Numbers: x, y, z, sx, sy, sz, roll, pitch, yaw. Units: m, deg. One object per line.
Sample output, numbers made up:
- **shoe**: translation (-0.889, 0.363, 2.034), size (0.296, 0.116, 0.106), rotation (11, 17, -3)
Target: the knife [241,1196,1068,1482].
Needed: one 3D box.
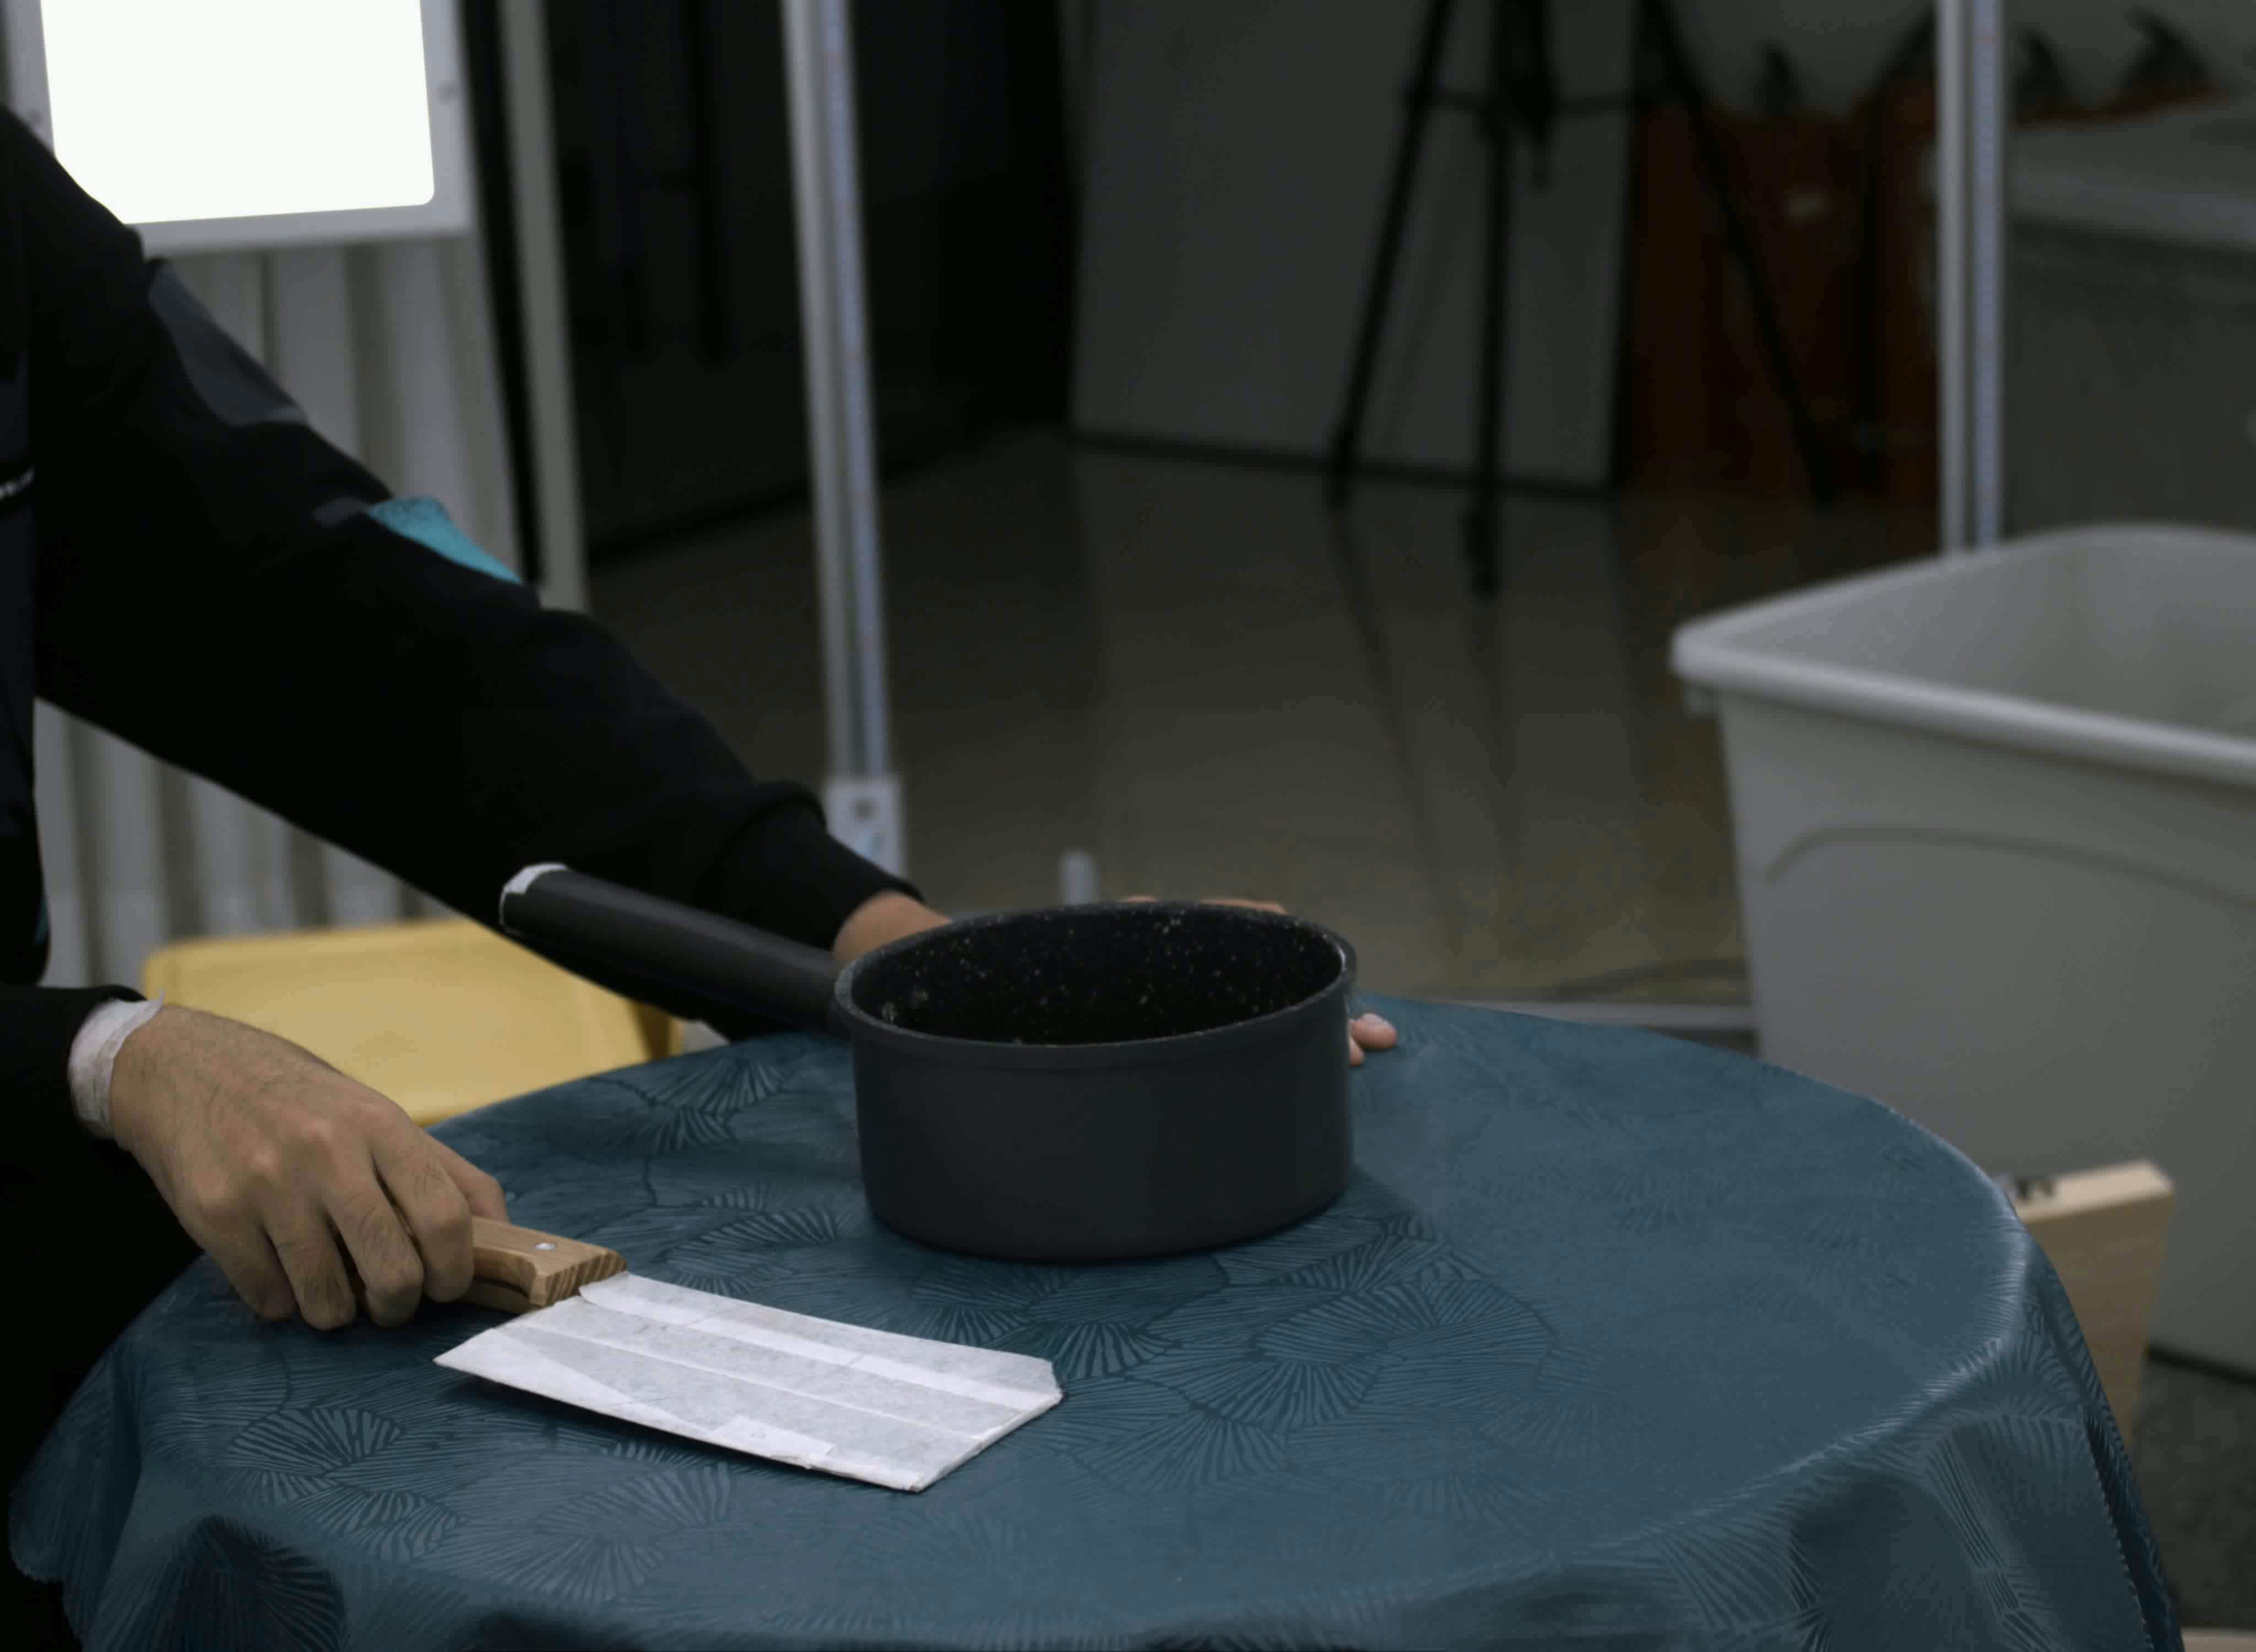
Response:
- **knife**: translation (-0.153, 0.154, 1.646), size (0.318, 0.022, 0.112), rotation (11, 20, 39)

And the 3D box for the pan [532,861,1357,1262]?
- **pan**: translation (-0.071, 0.073, 1.811), size (0.331, 0.087, 0.169), rotation (7, 16, 37)
